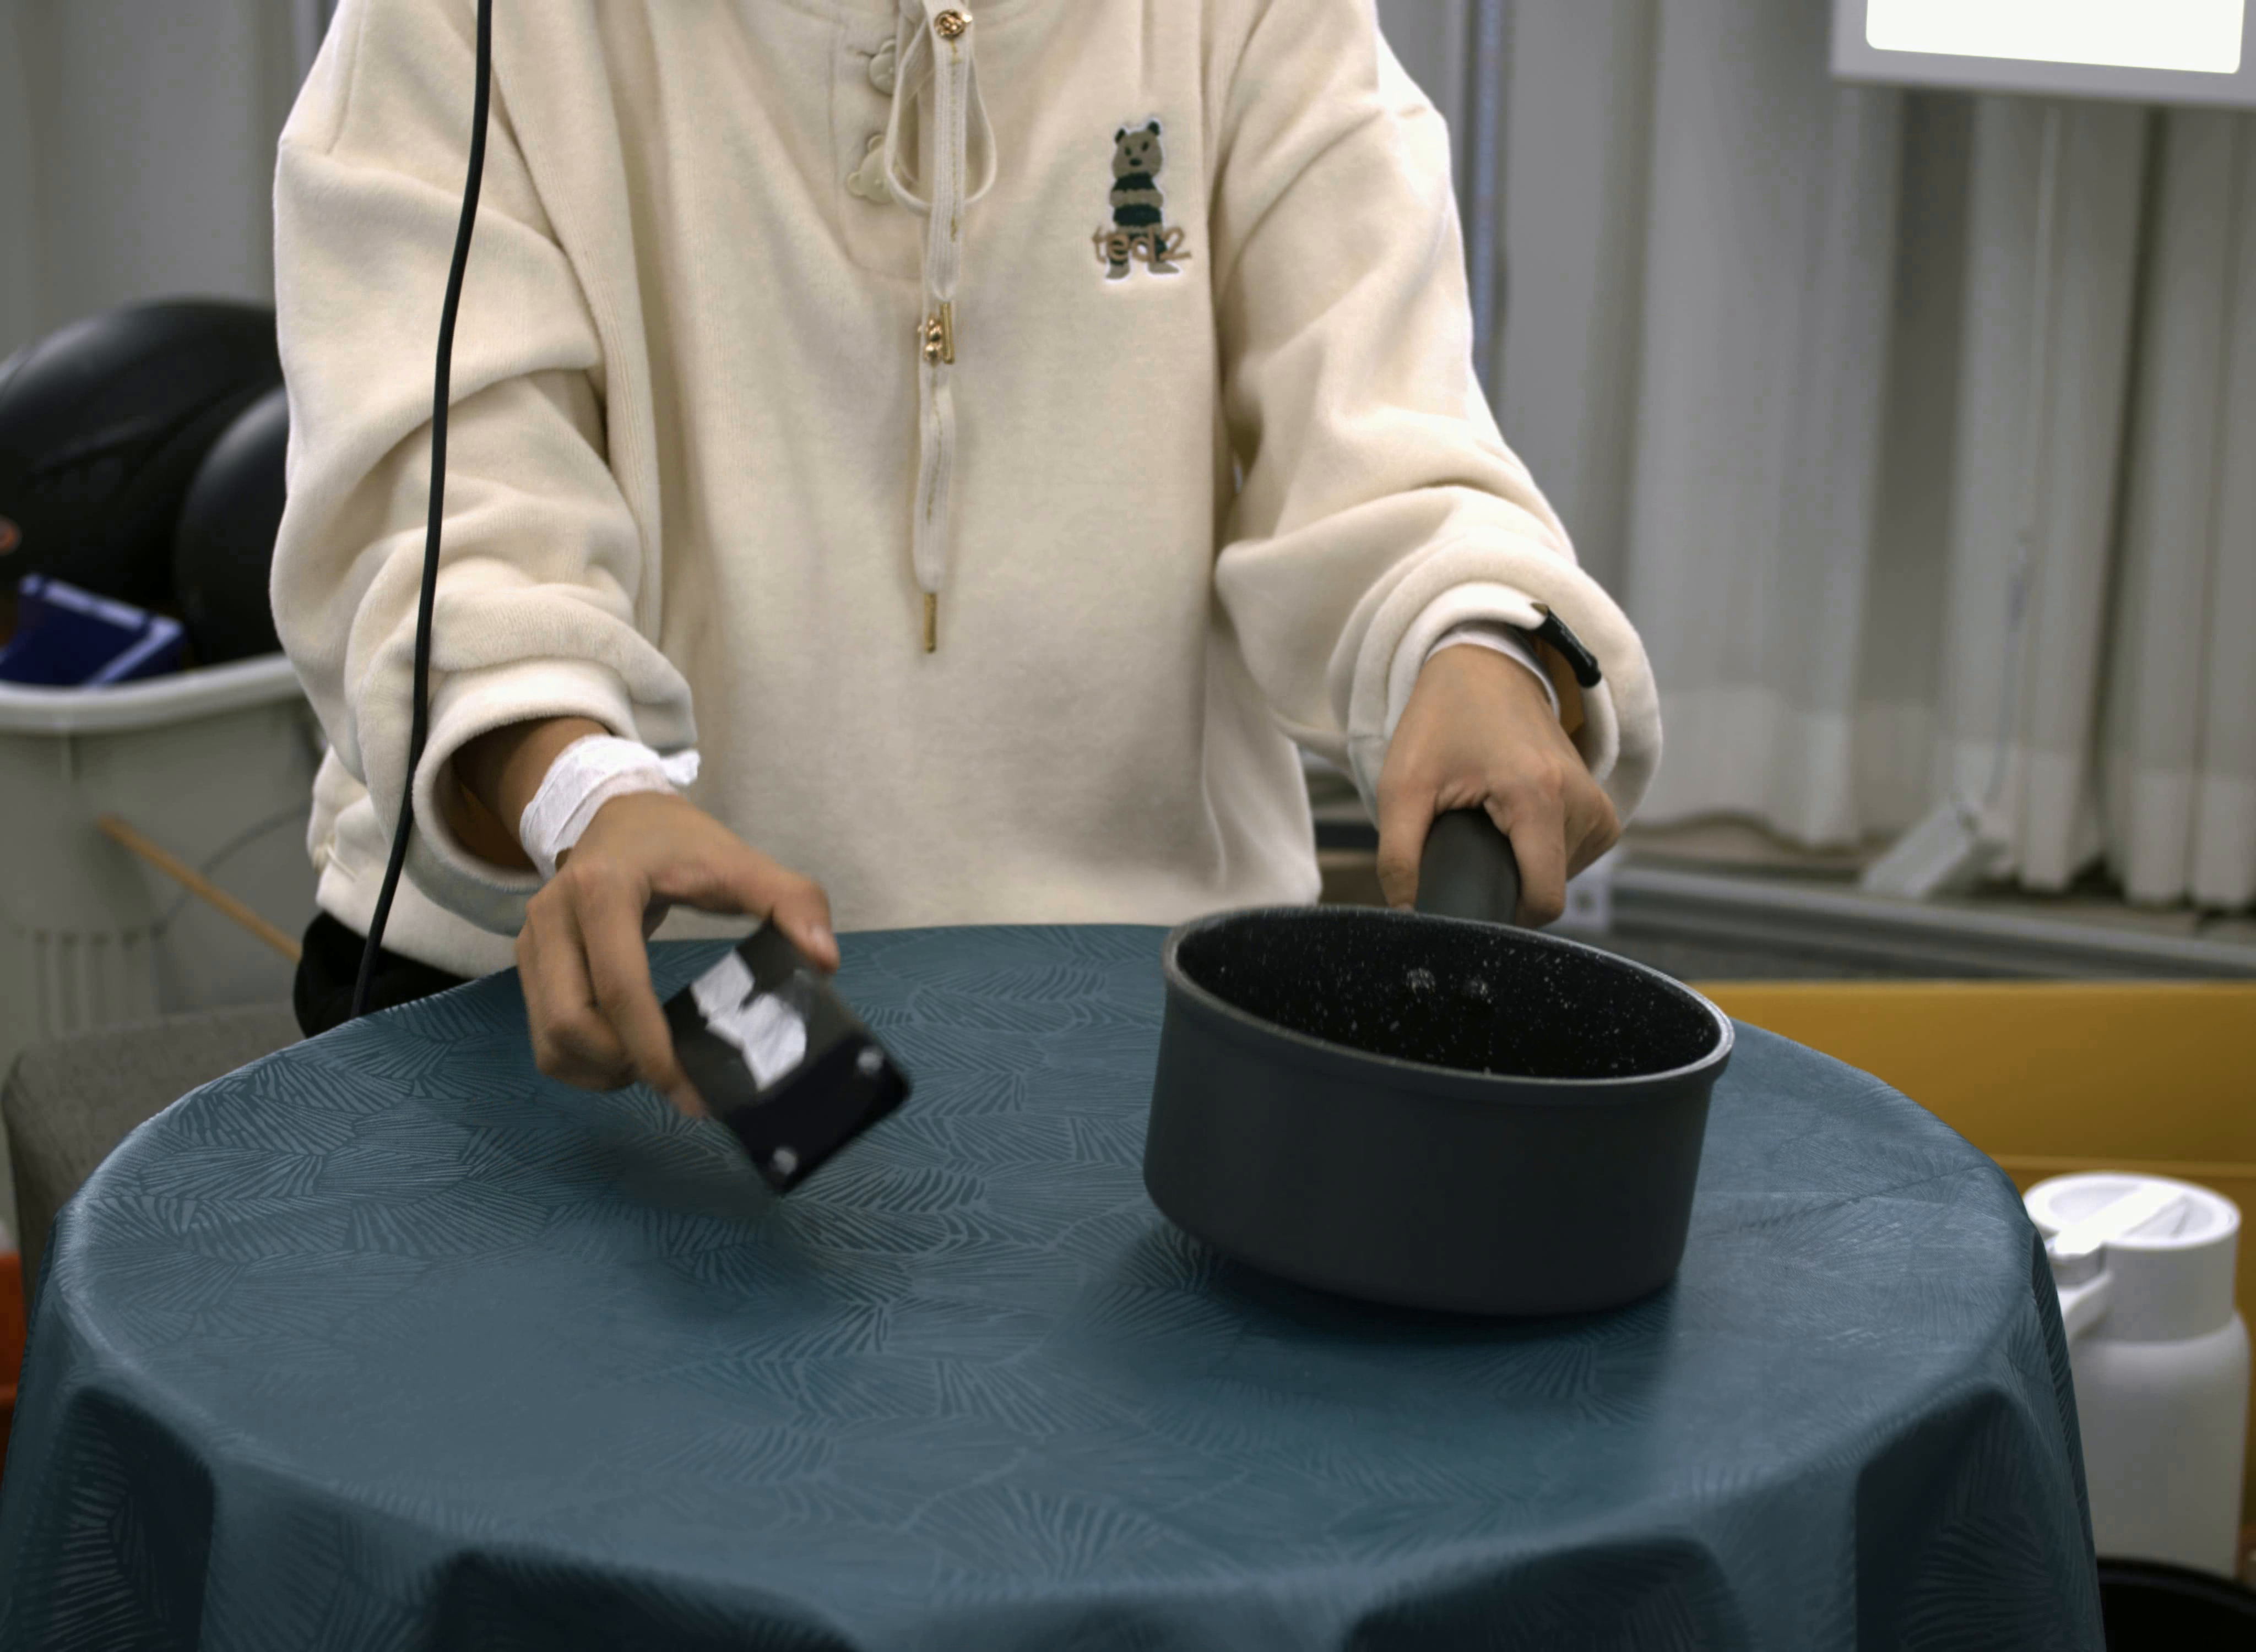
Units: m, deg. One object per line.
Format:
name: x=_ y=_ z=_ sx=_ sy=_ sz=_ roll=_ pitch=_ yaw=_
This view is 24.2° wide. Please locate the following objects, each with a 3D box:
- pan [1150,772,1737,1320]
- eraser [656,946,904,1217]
pan: x=0.102 y=0.063 z=1.629 sx=0.171 sy=0.087 sz=0.328 roll=9 pitch=16 yaw=7
eraser: x=-0.105 y=0.075 z=1.580 sx=0.053 sy=0.031 sz=0.124 roll=-35 pitch=21 yaw=-3
